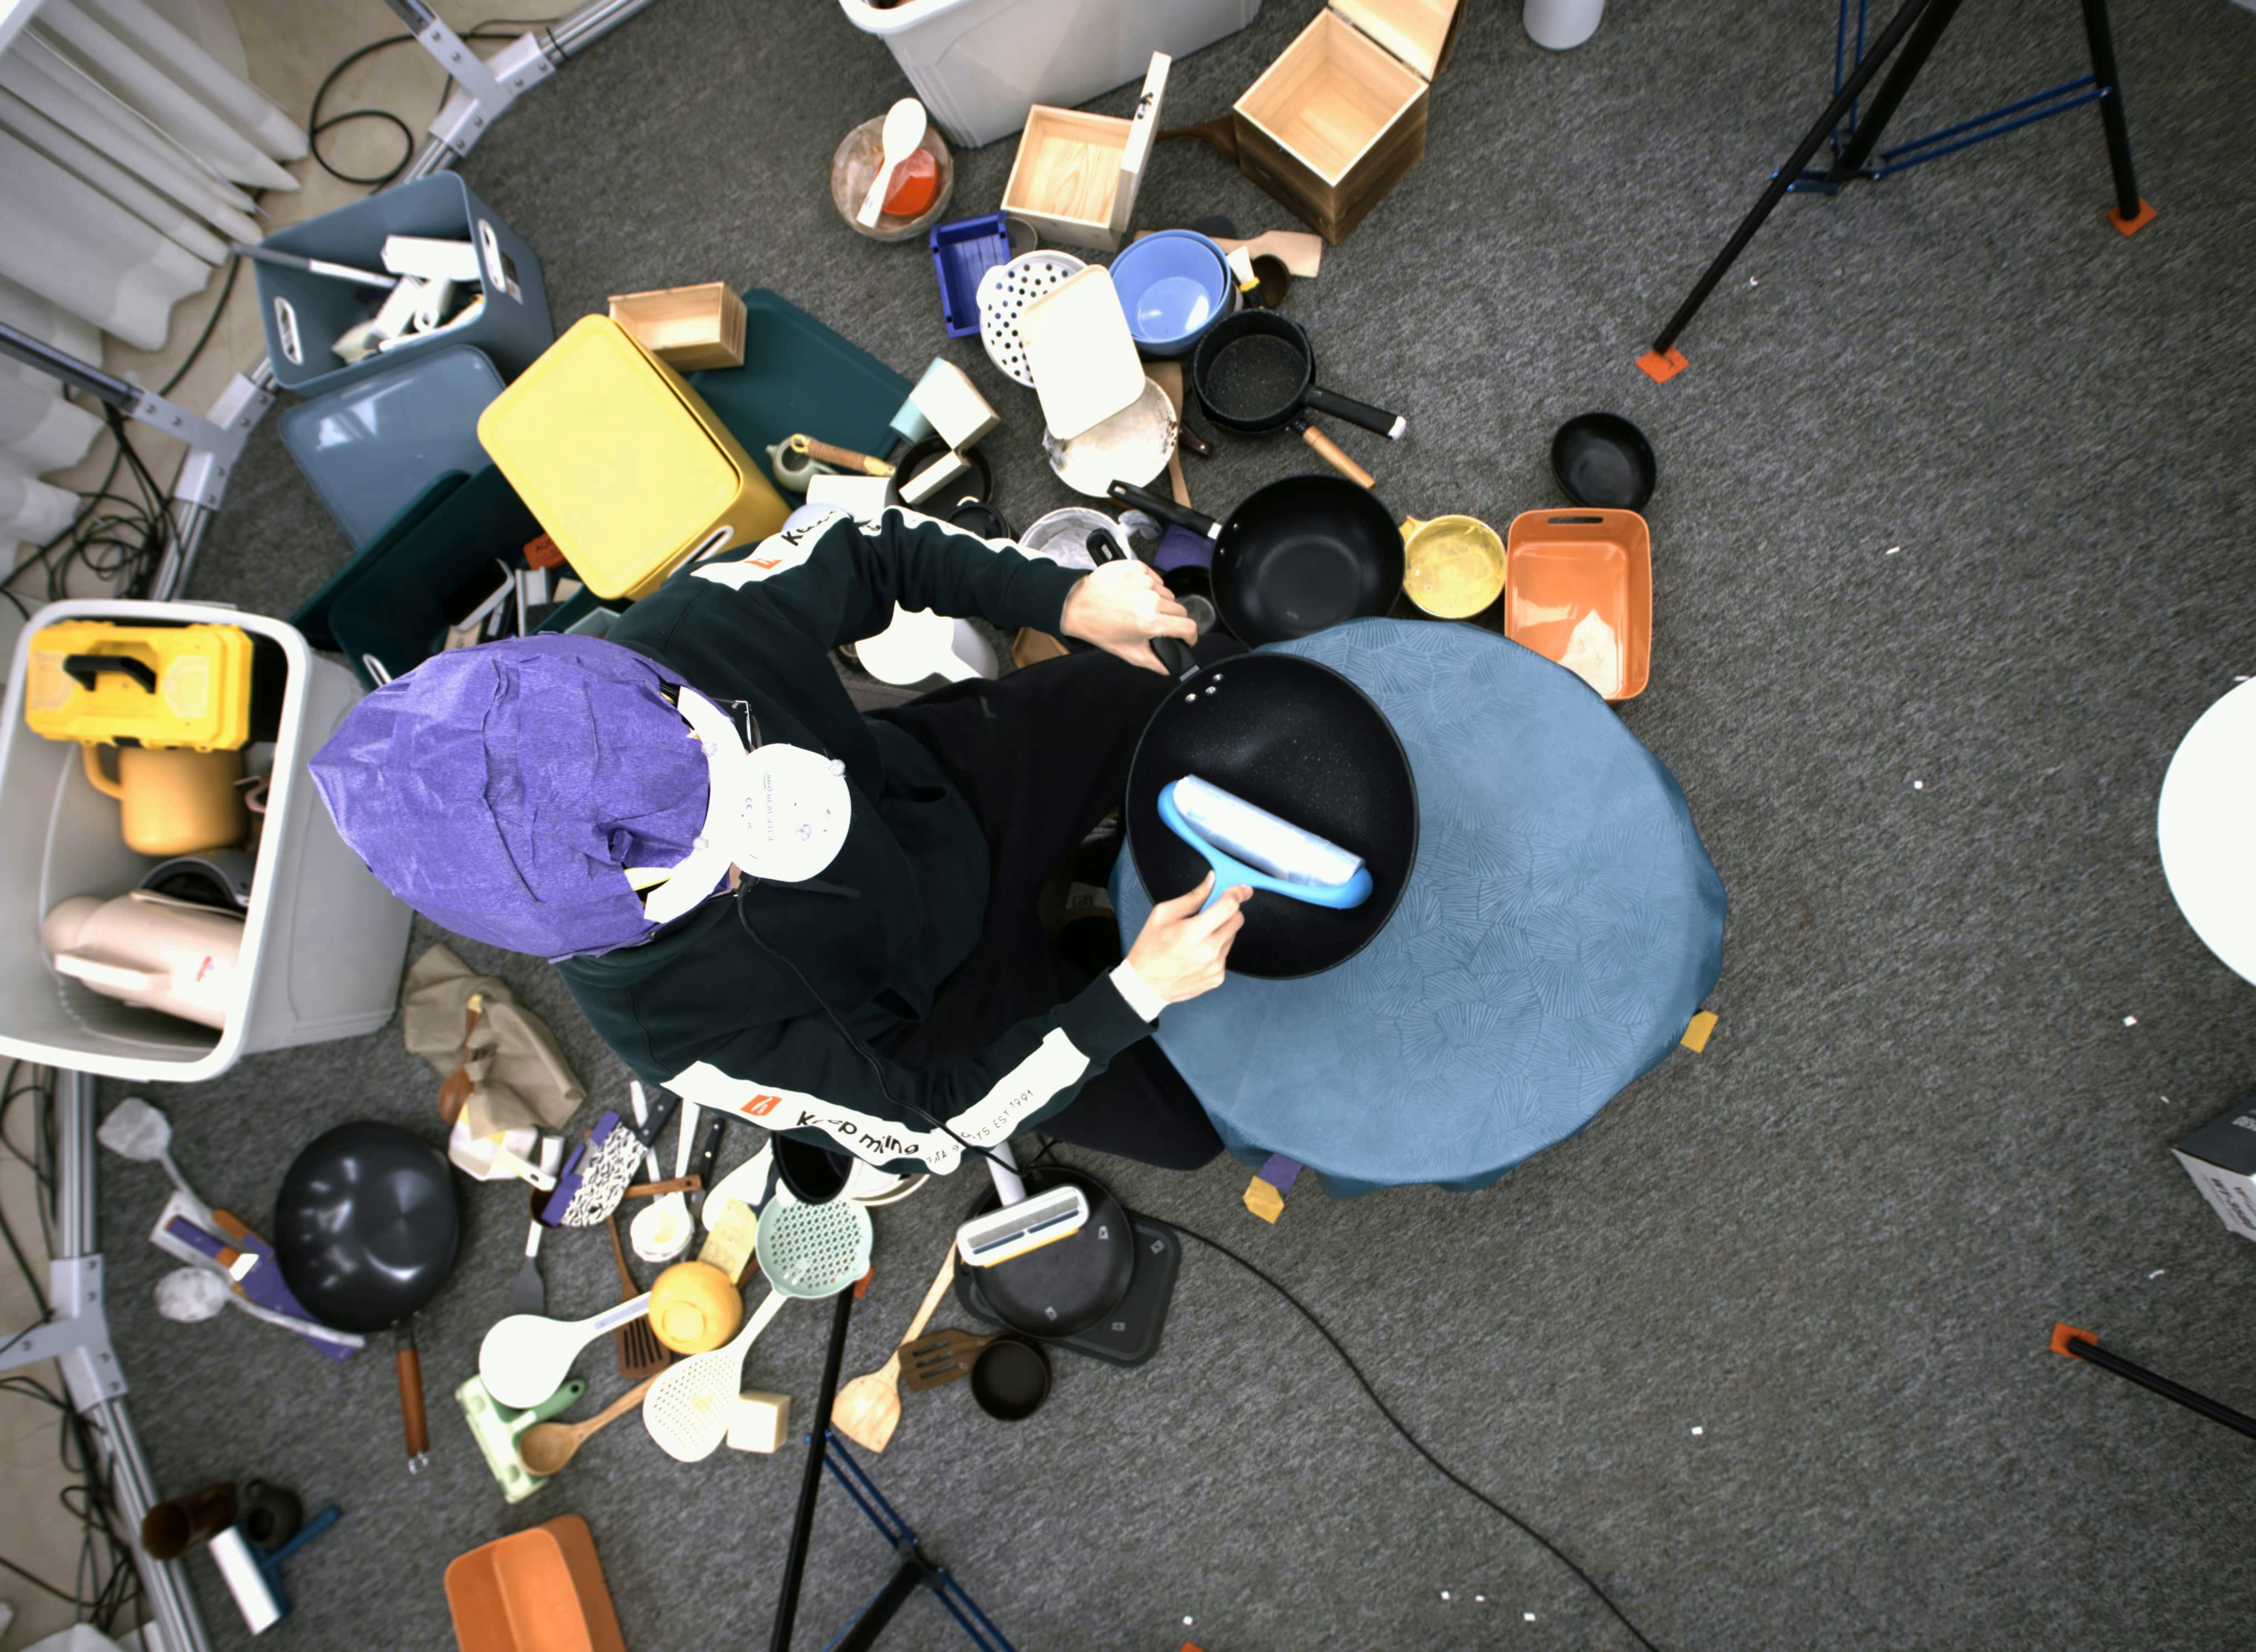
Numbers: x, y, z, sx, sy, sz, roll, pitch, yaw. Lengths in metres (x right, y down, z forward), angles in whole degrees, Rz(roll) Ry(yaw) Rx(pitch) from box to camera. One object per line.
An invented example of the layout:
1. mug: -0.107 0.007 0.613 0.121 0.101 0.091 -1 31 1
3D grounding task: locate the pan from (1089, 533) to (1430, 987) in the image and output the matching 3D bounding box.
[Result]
1. pan: 0.107 -0.077 1.323 0.316 0.110 0.473 -34 79 31

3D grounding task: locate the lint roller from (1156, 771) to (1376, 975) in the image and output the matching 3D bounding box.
1. lint roller: 0.104 0.056 1.312 0.228 0.069 0.177 25 70 16
